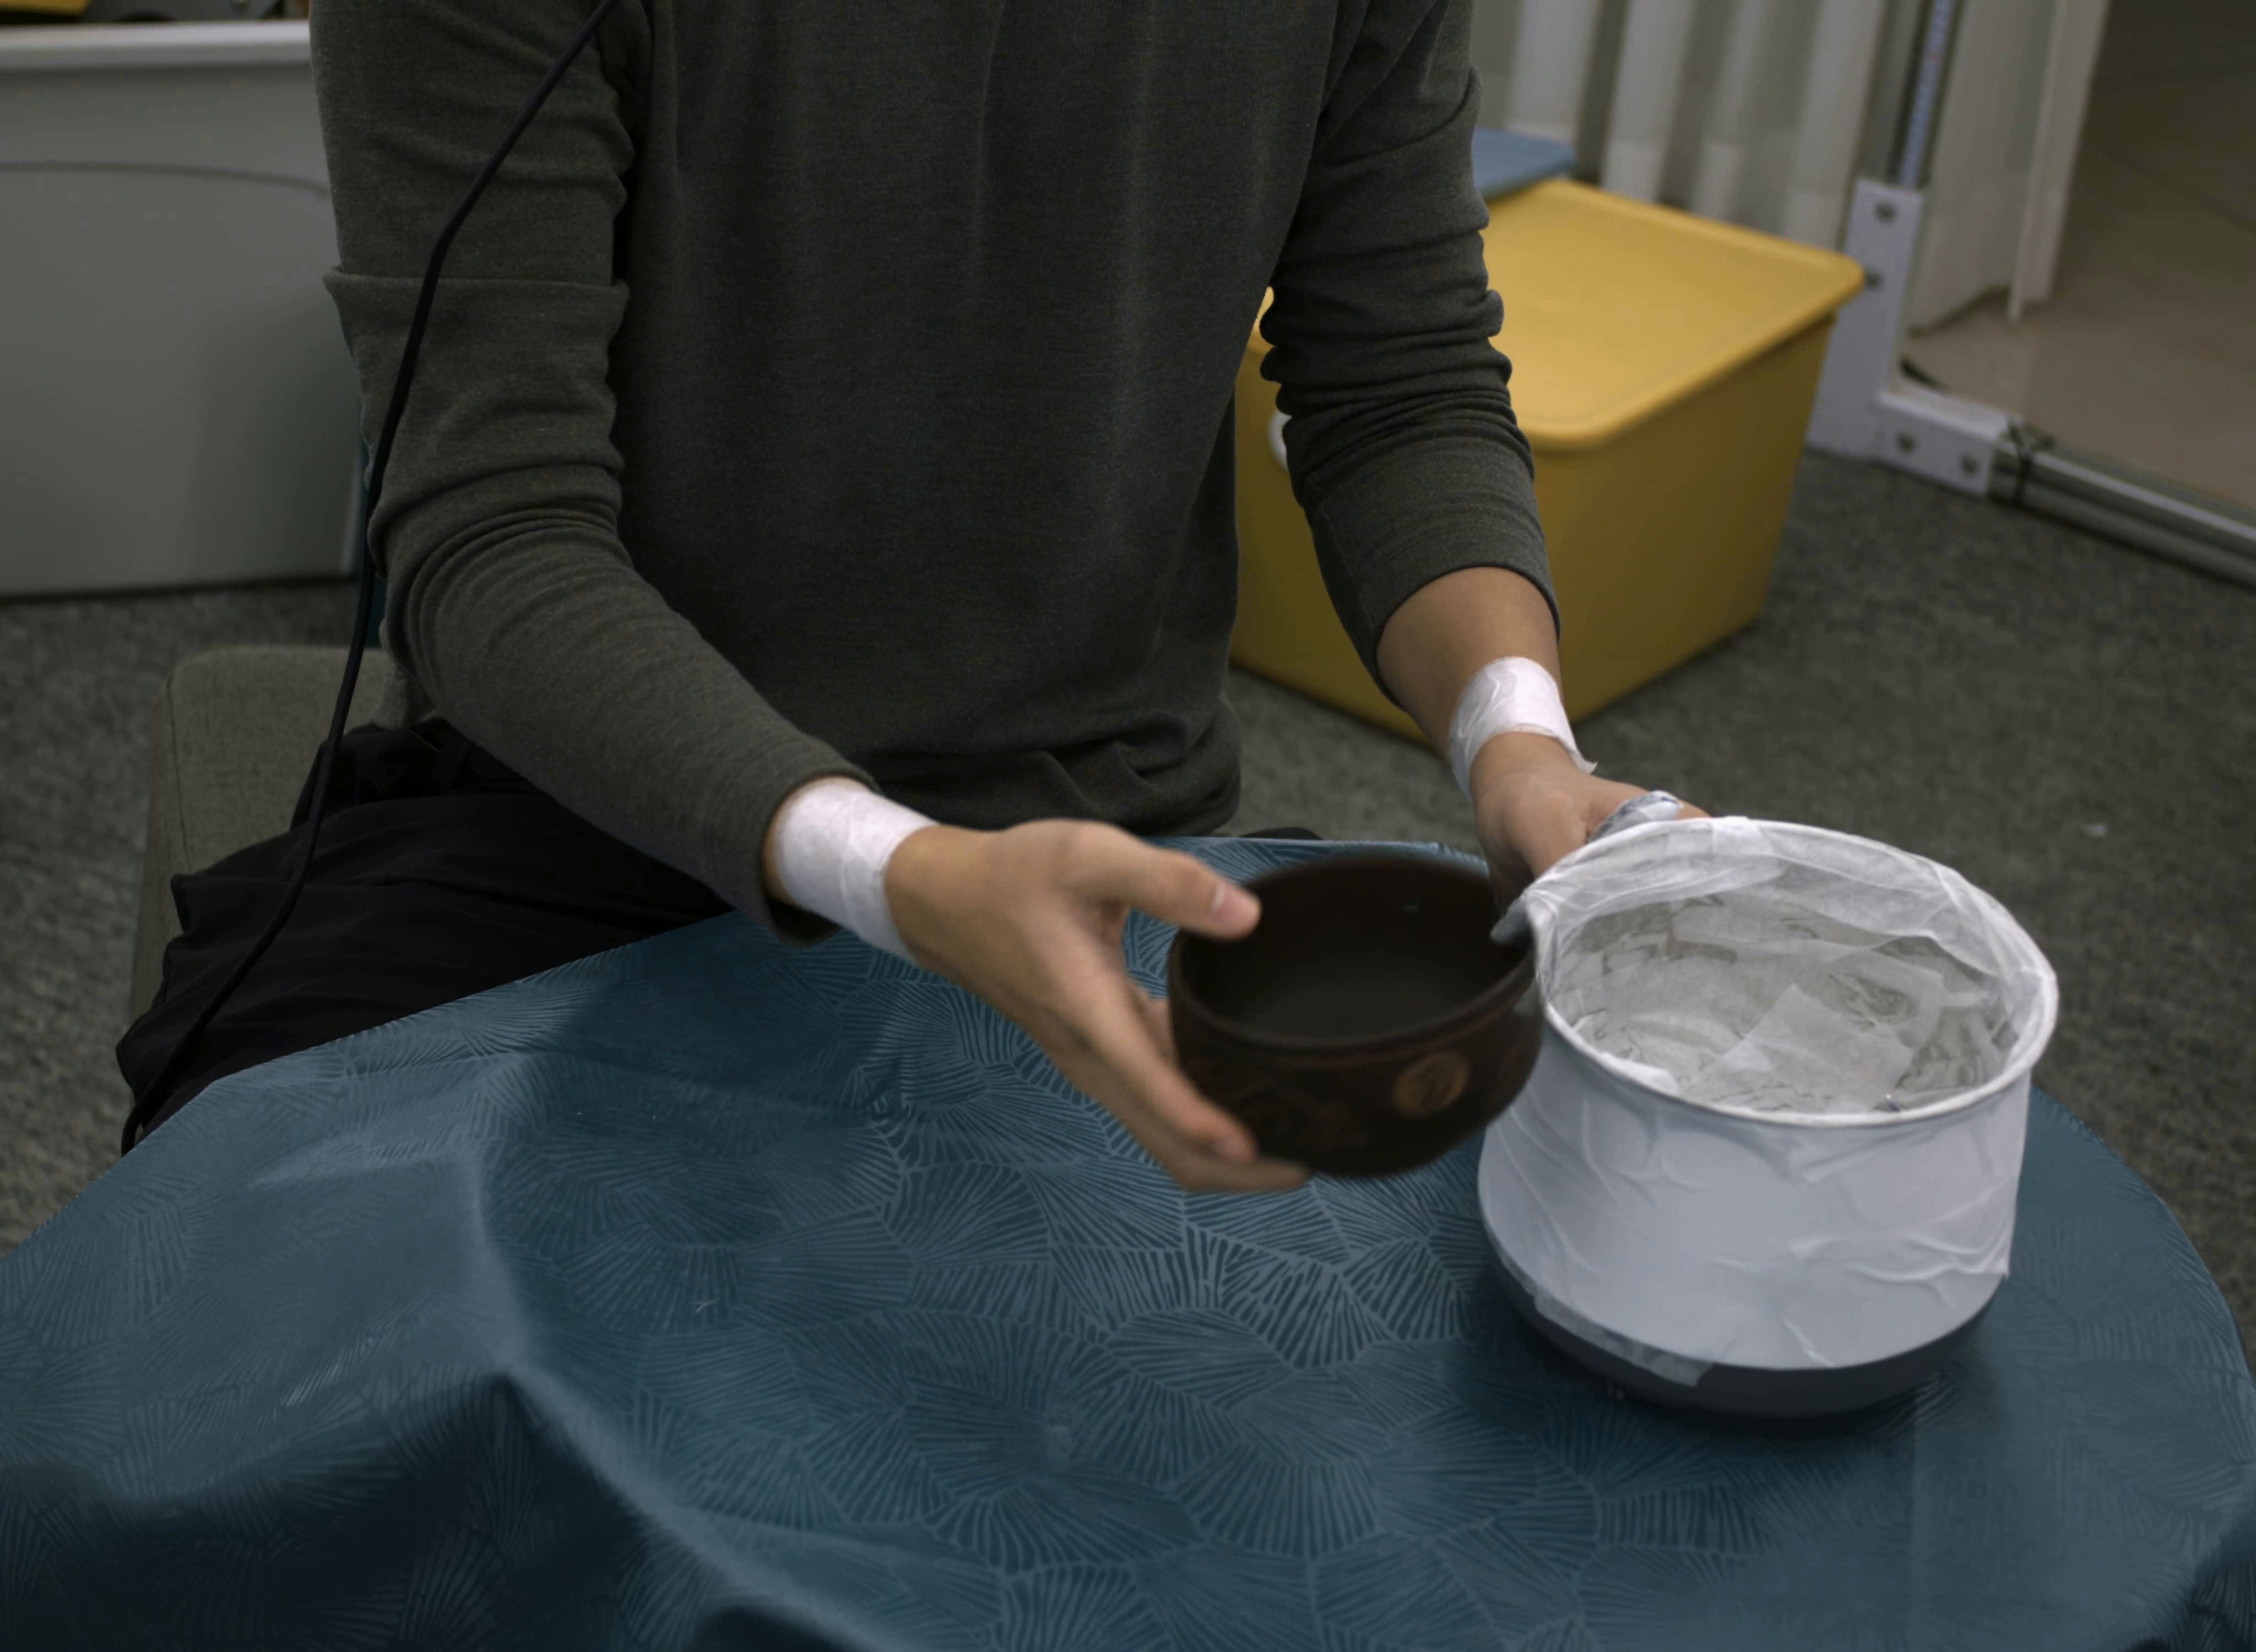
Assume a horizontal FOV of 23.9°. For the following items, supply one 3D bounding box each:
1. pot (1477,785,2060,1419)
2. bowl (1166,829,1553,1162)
[{"bbox_3d":[0.196,0.082,1.760,0.177,0.136,0.236,-8,34,-19],"label":"pot"},{"bbox_3d":[0.073,0.059,1.634,0.118,0.069,0.119,-8,28,4],"label":"bowl"}]
